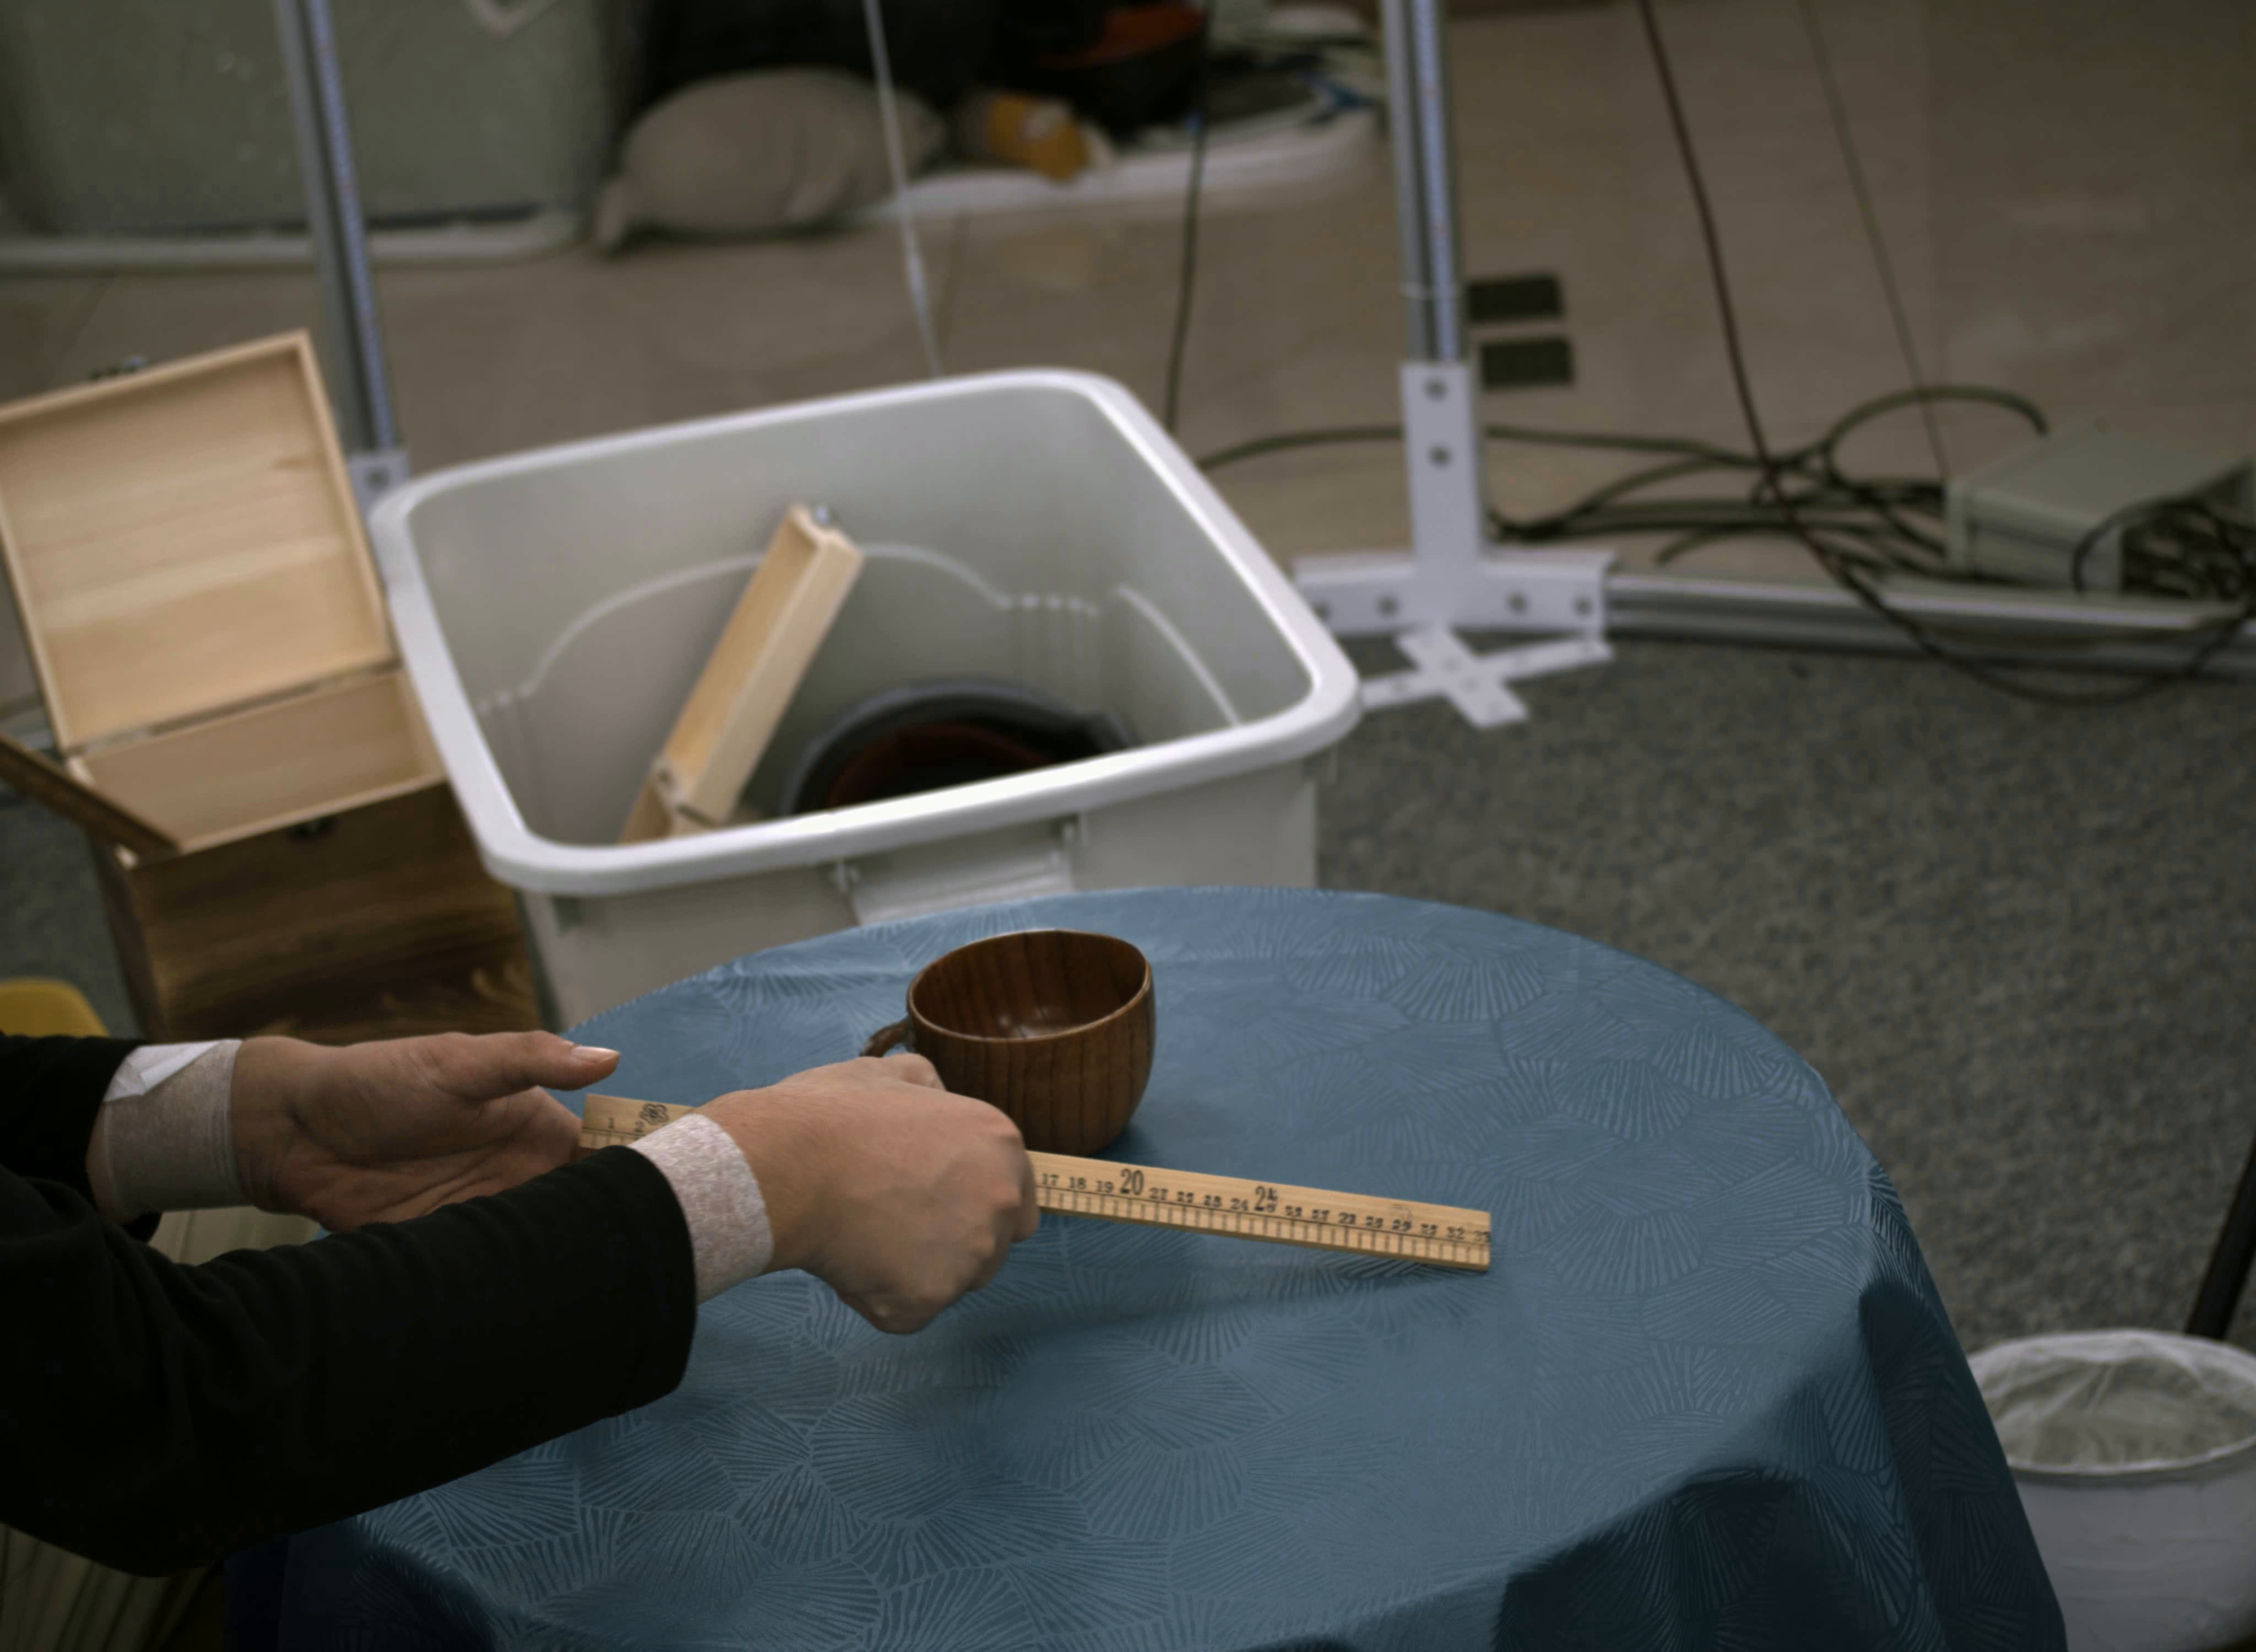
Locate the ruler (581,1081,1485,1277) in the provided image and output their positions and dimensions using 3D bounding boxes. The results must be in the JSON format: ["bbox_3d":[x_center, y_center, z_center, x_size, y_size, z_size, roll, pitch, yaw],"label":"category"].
[{"bbox_3d":[-0.033,0.126,2.057,0.331,0.022,0.027,9,45,-4],"label":"ruler"}]

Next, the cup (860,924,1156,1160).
[{"bbox_3d":[-0.046,0.091,2.184,0.119,0.069,0.095,-15,29,-16],"label":"cup"}]
